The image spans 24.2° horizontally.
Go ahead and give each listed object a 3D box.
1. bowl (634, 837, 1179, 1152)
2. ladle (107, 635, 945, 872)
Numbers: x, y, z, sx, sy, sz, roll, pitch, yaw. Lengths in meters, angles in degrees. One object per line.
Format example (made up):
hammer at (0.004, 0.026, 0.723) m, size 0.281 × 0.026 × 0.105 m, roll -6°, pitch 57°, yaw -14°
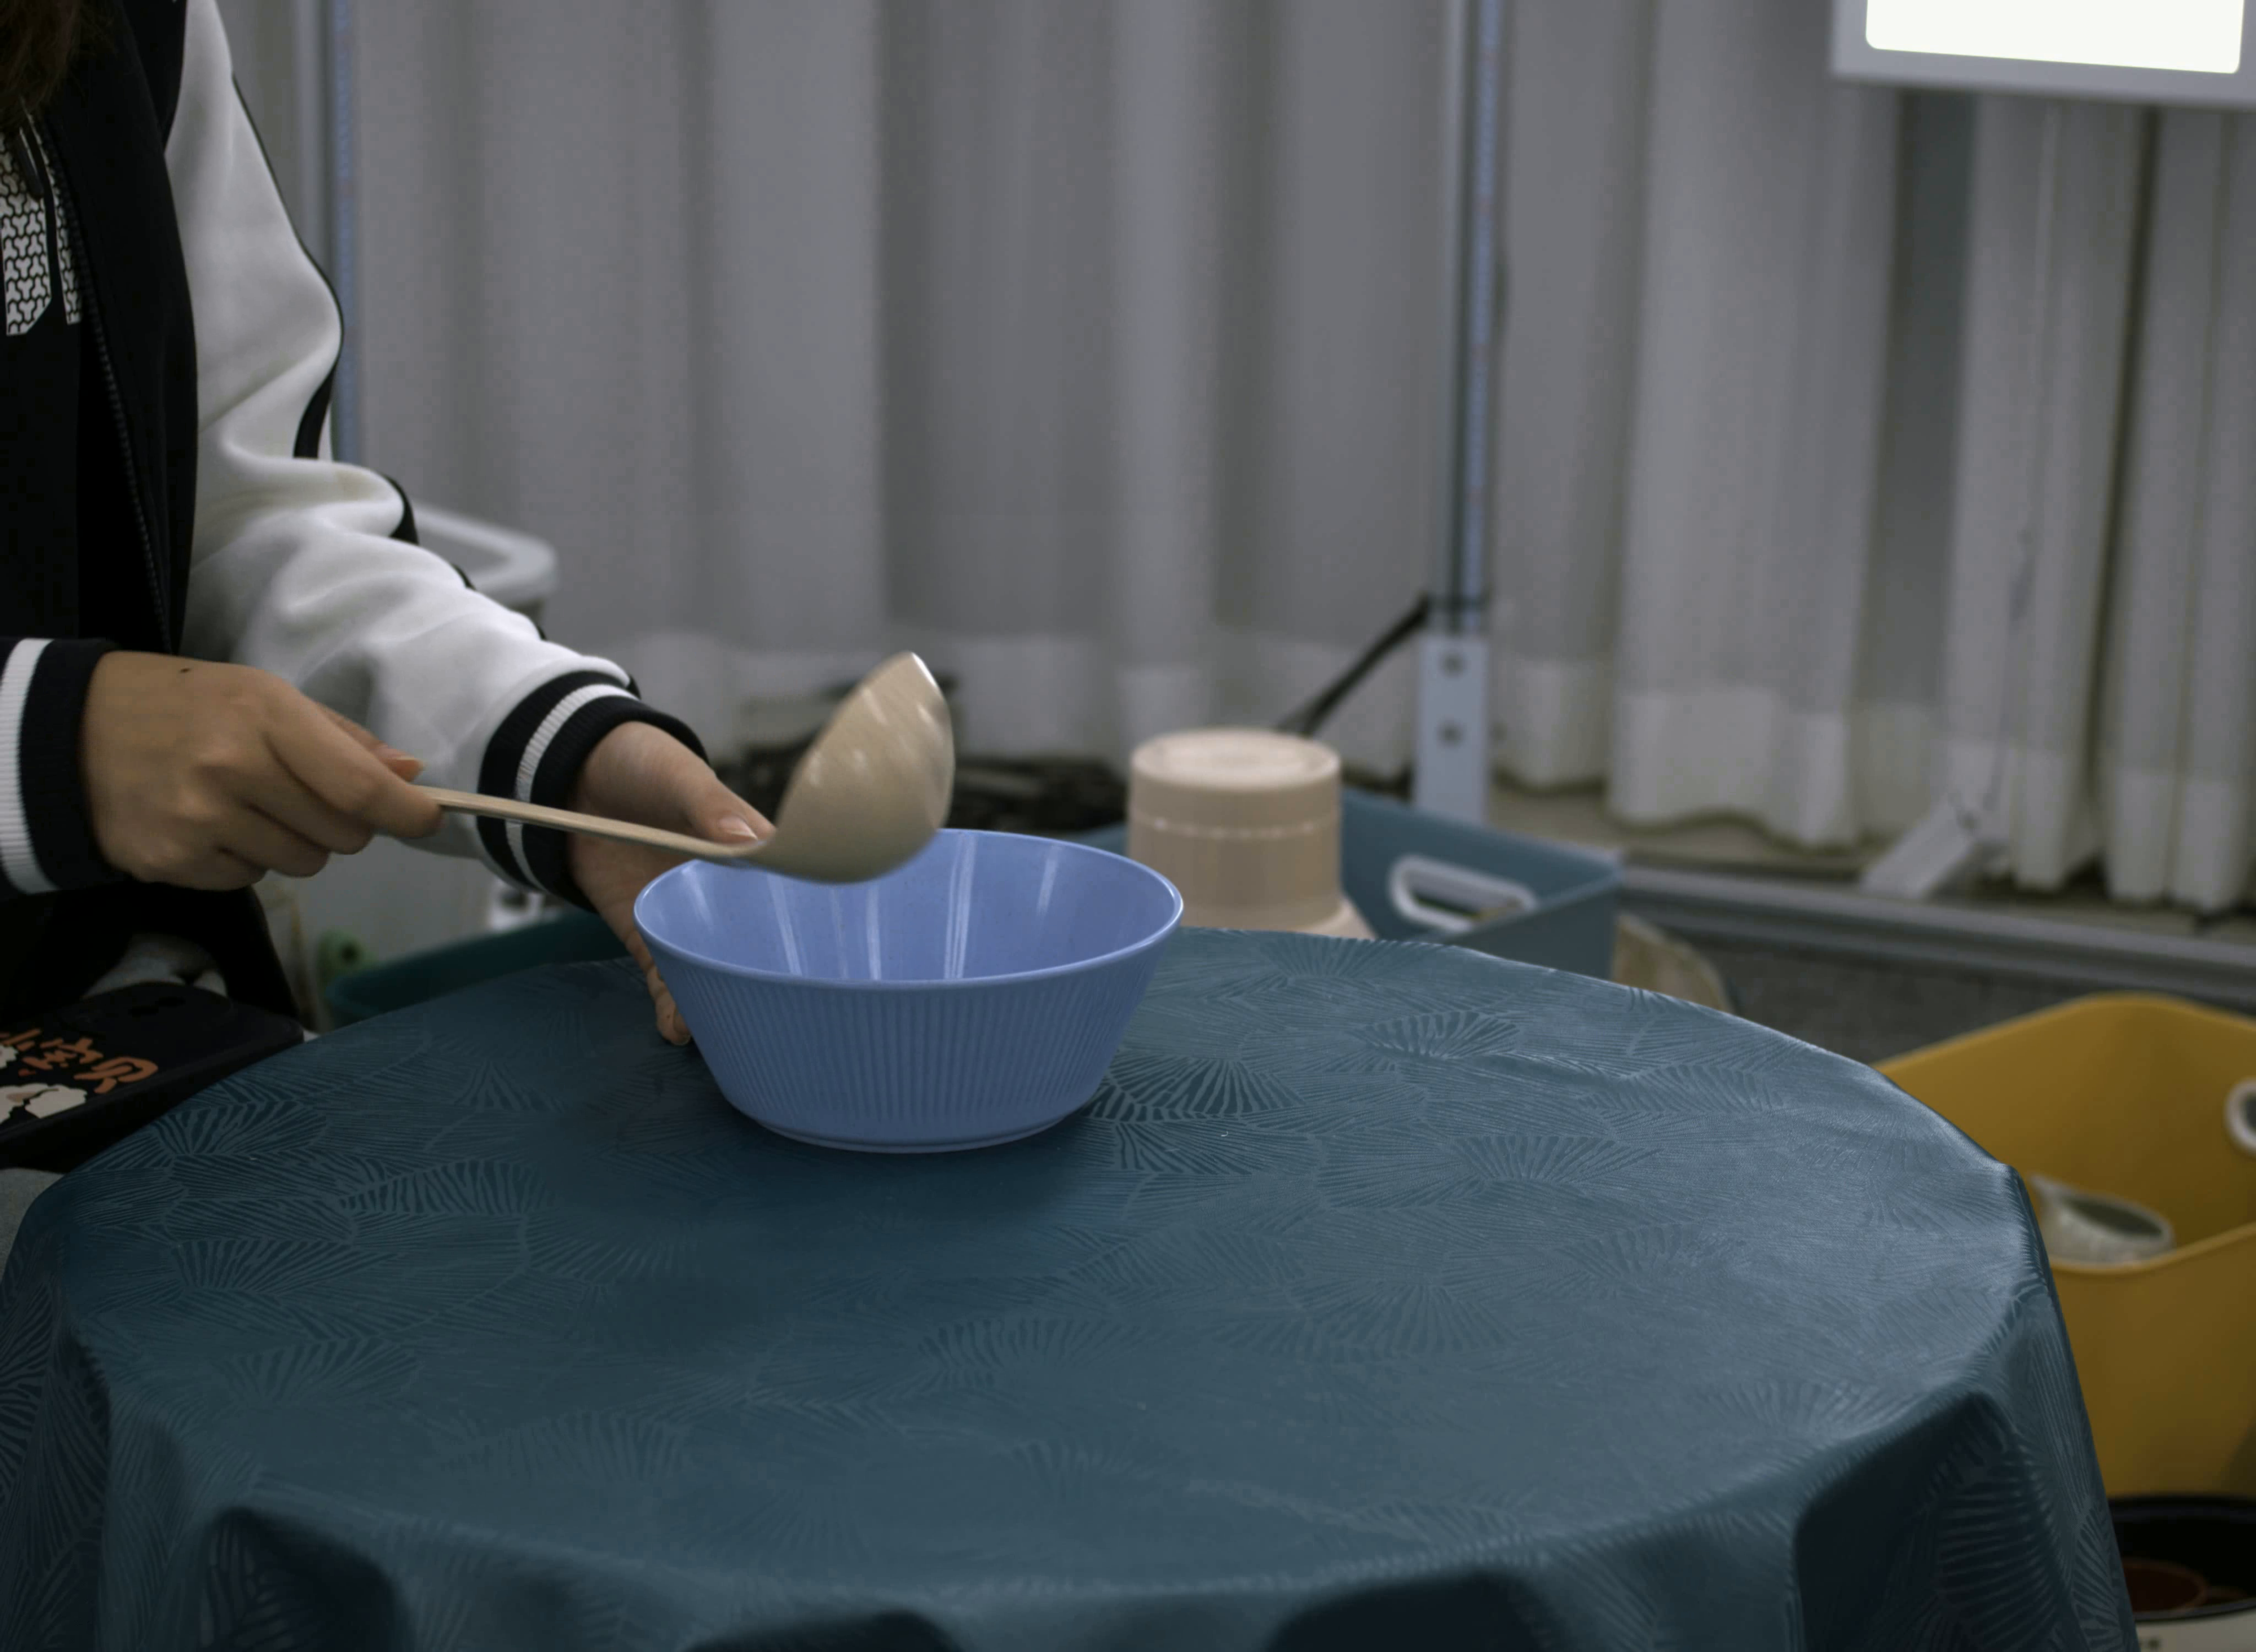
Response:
bowl at (-0.071, 0.056, 1.691) m, size 0.175 × 0.071 × 0.175 m, roll 1°, pitch 15°, yaw 0°
ladle at (-0.181, -0.031, 1.583) m, size 0.253 × 0.073 × 0.072 m, roll 6°, pitch -11°, yaw 9°
